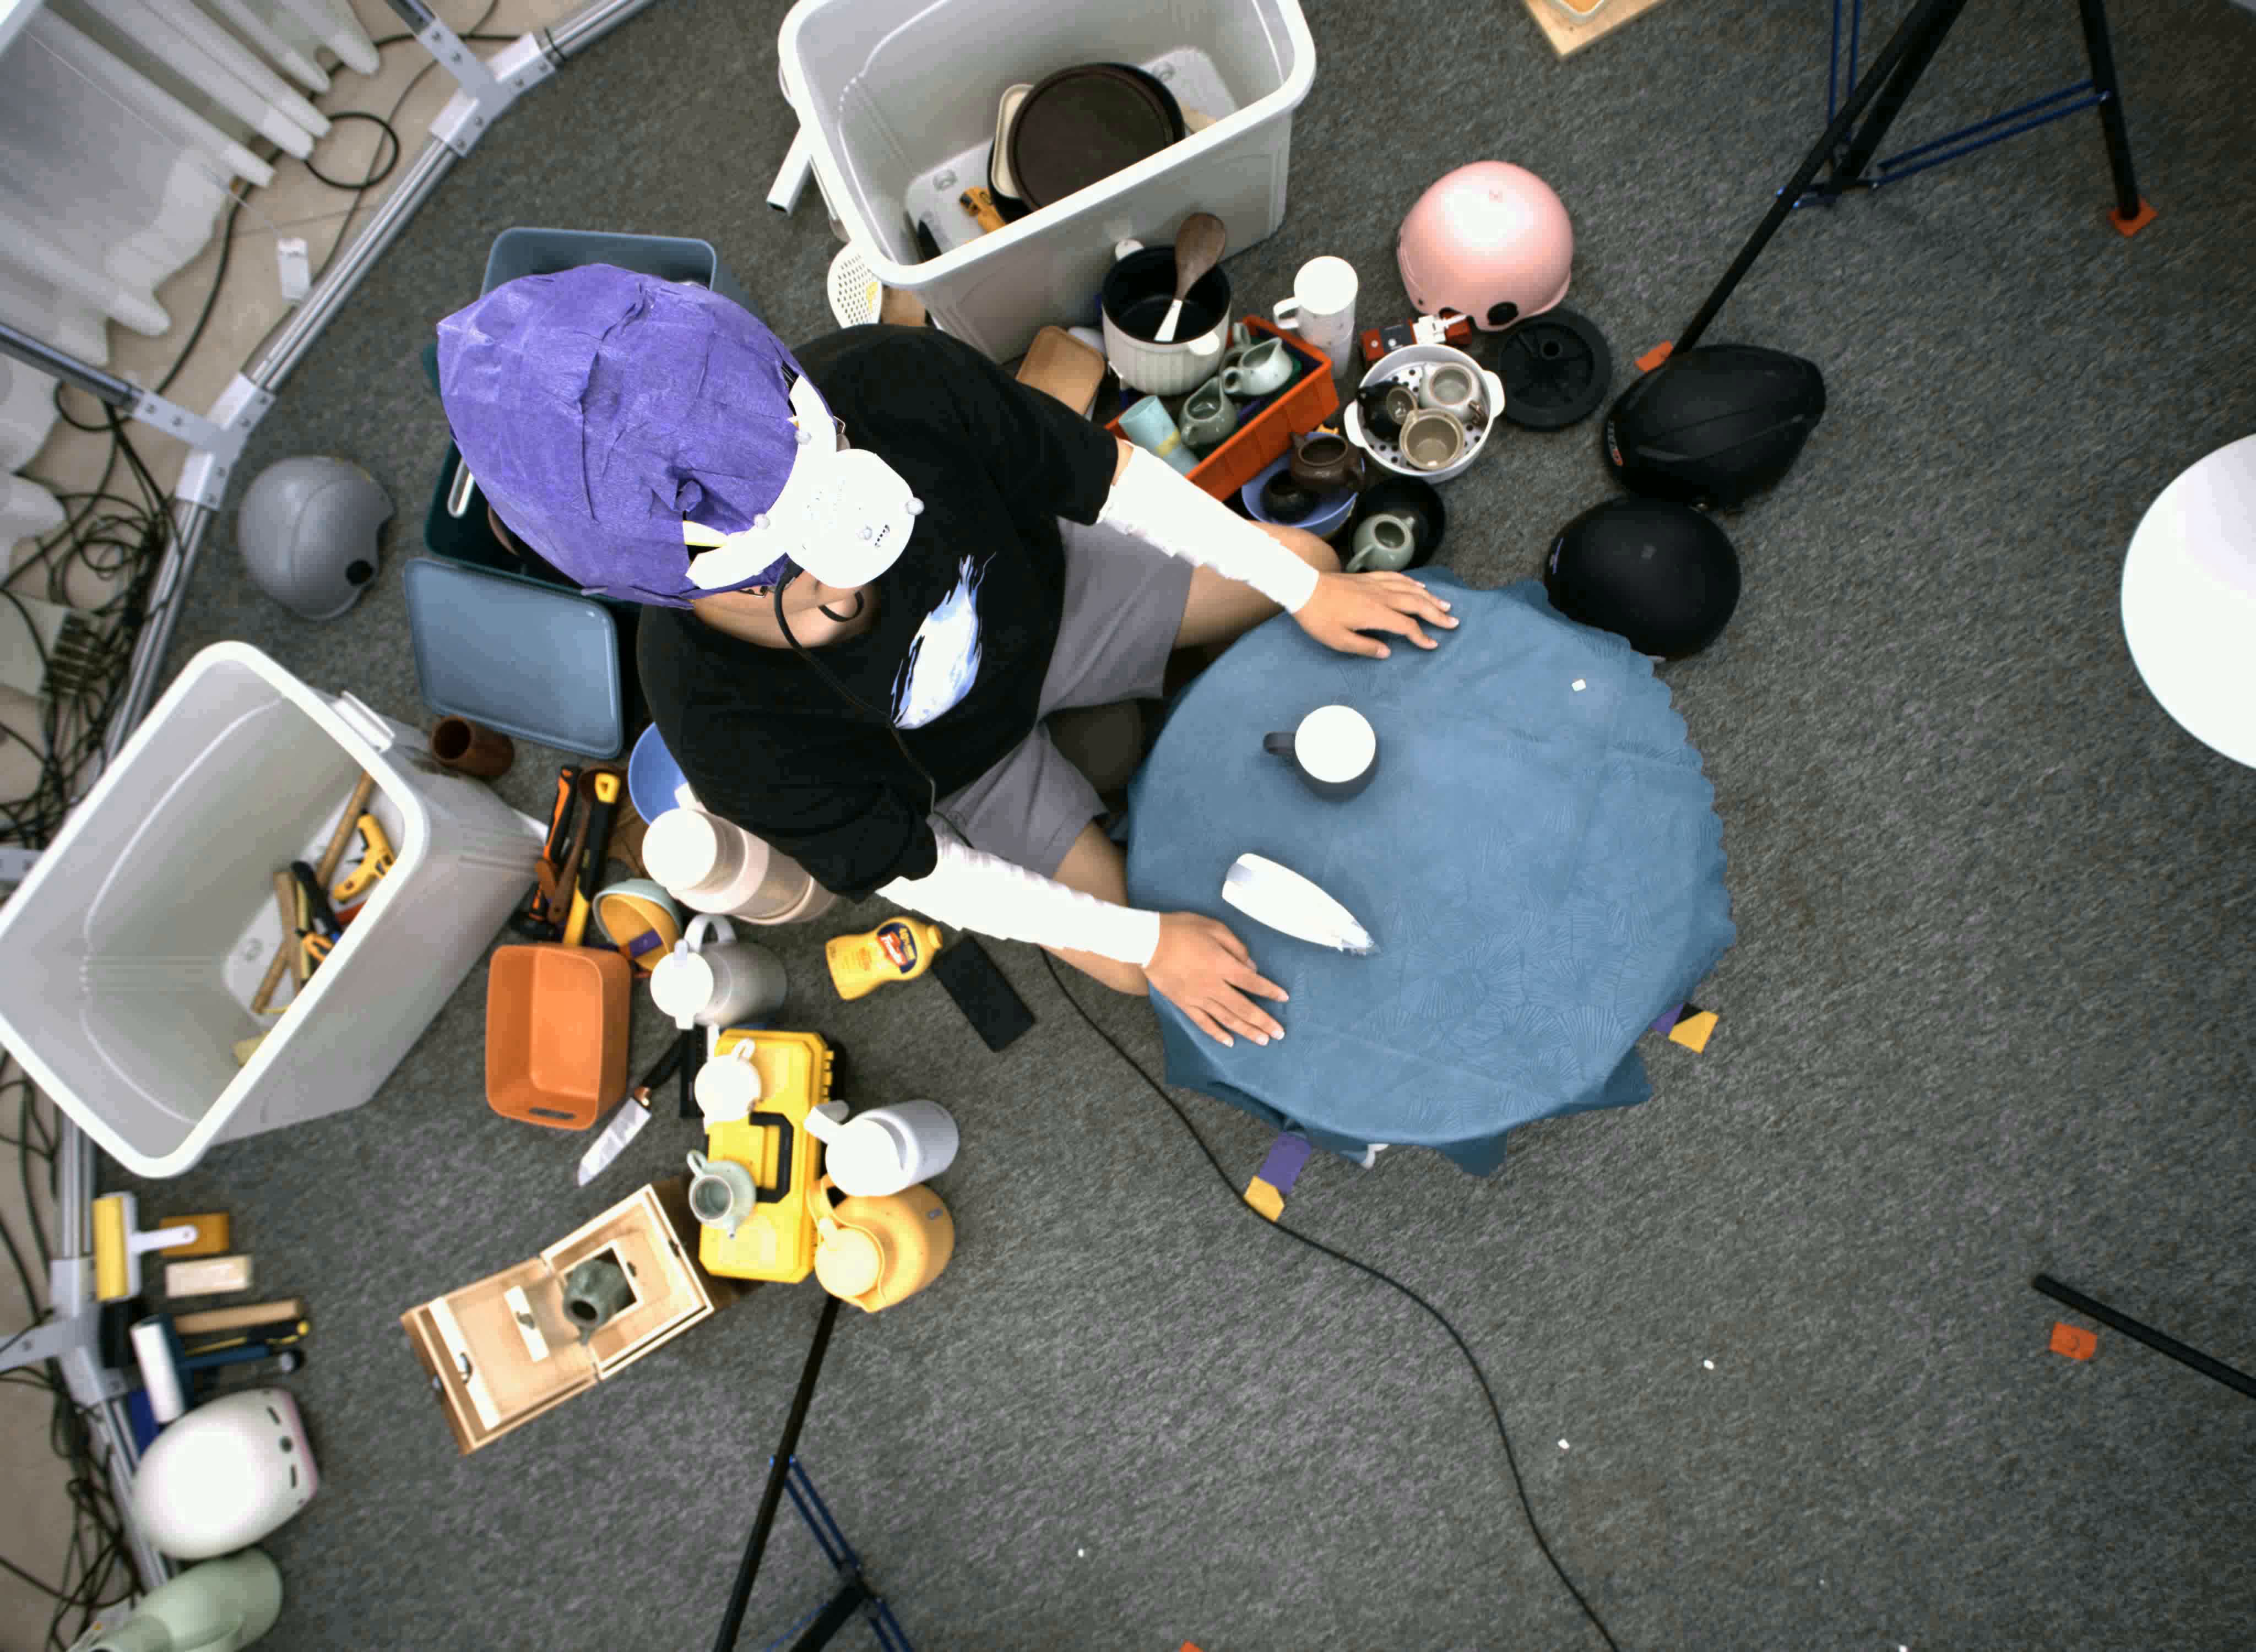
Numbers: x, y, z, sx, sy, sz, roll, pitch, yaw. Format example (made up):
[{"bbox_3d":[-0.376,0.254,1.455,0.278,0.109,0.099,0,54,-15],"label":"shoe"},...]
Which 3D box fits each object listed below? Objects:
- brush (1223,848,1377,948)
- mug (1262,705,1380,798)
[{"bbox_3d":[0.179,0.081,1.429,0.175,0.094,0.061,28,92,10],"label":"brush"},{"bbox_3d":[0.201,-0.082,1.434,0.123,0.090,0.093,9,87,11],"label":"mug"}]
